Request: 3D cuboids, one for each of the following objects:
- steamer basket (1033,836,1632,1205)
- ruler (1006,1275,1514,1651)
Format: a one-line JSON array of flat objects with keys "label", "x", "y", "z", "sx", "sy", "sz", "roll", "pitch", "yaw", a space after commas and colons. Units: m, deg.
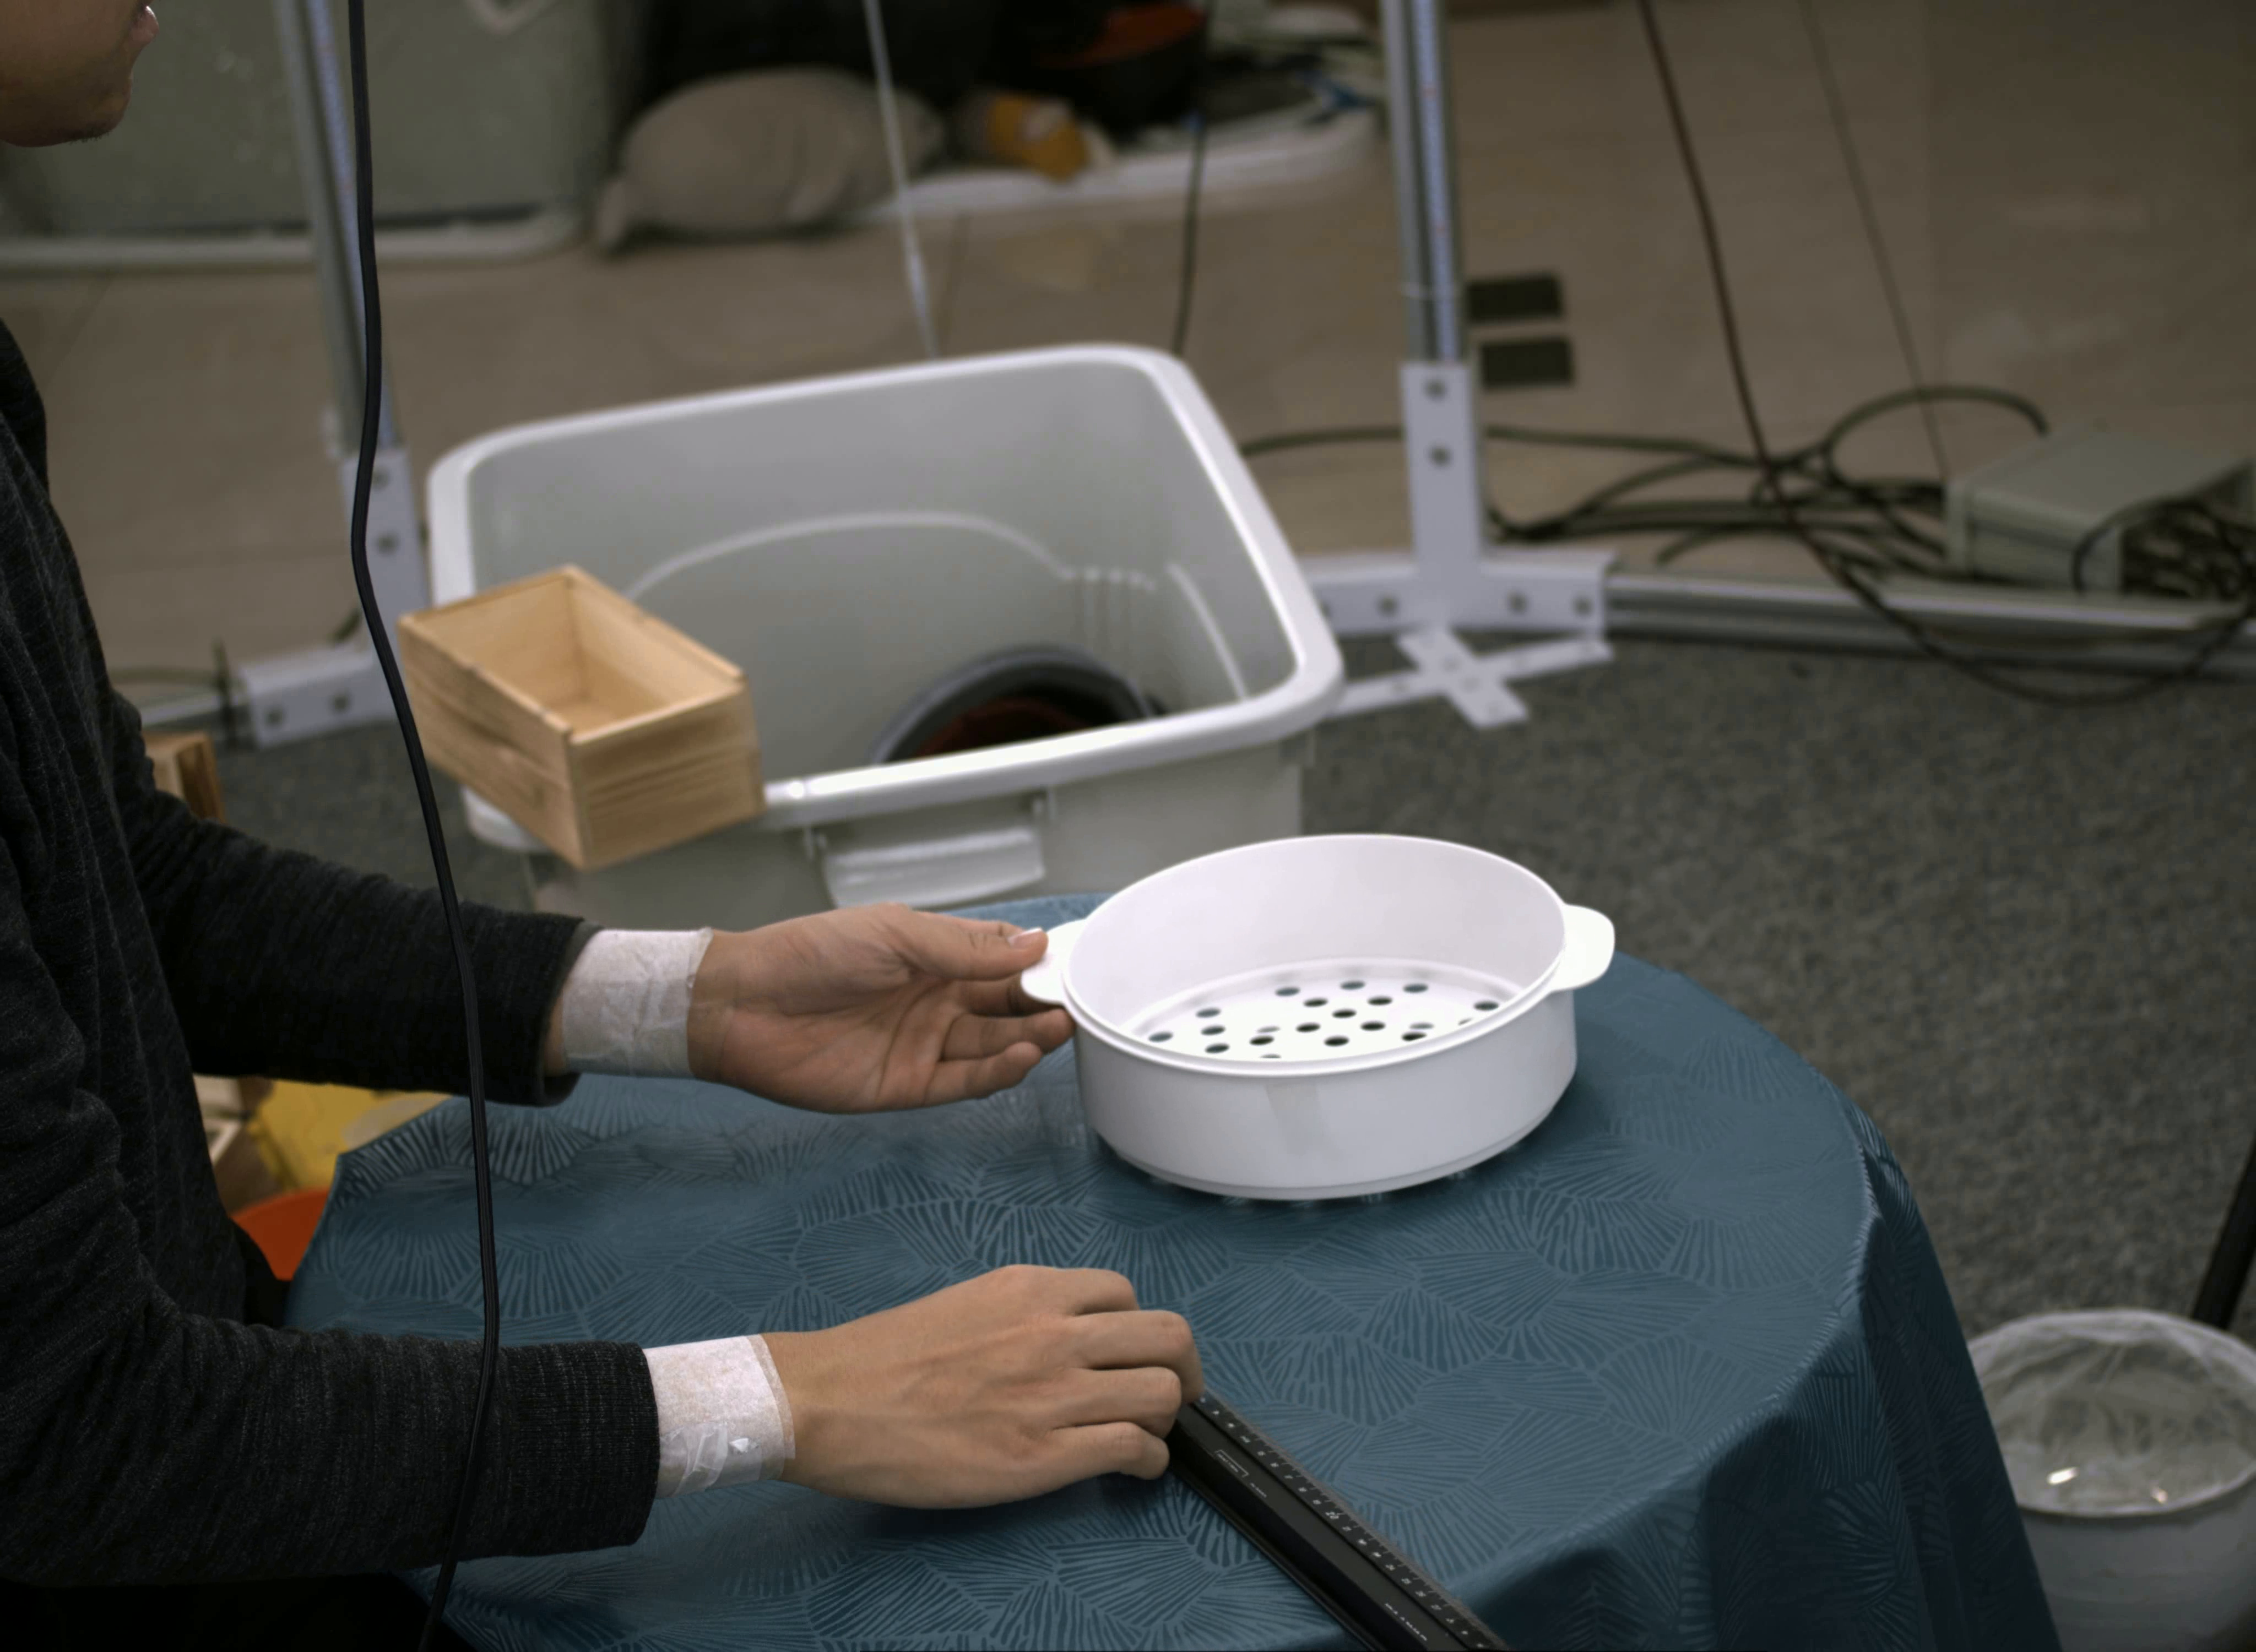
[{"label": "steamer basket", "x": 0.080, "y": 0.074, "z": 2.185, "sx": 0.230, "sy": 0.070, "sz": 0.199, "roll": 0, "pitch": 26, "yaw": 9}, {"label": "ruler", "x": 0.040, "y": 0.217, "z": 1.952, "sx": 0.039, "sy": 0.017, "sz": 0.309, "roll": -17, "pitch": 27, "yaw": -22}]
